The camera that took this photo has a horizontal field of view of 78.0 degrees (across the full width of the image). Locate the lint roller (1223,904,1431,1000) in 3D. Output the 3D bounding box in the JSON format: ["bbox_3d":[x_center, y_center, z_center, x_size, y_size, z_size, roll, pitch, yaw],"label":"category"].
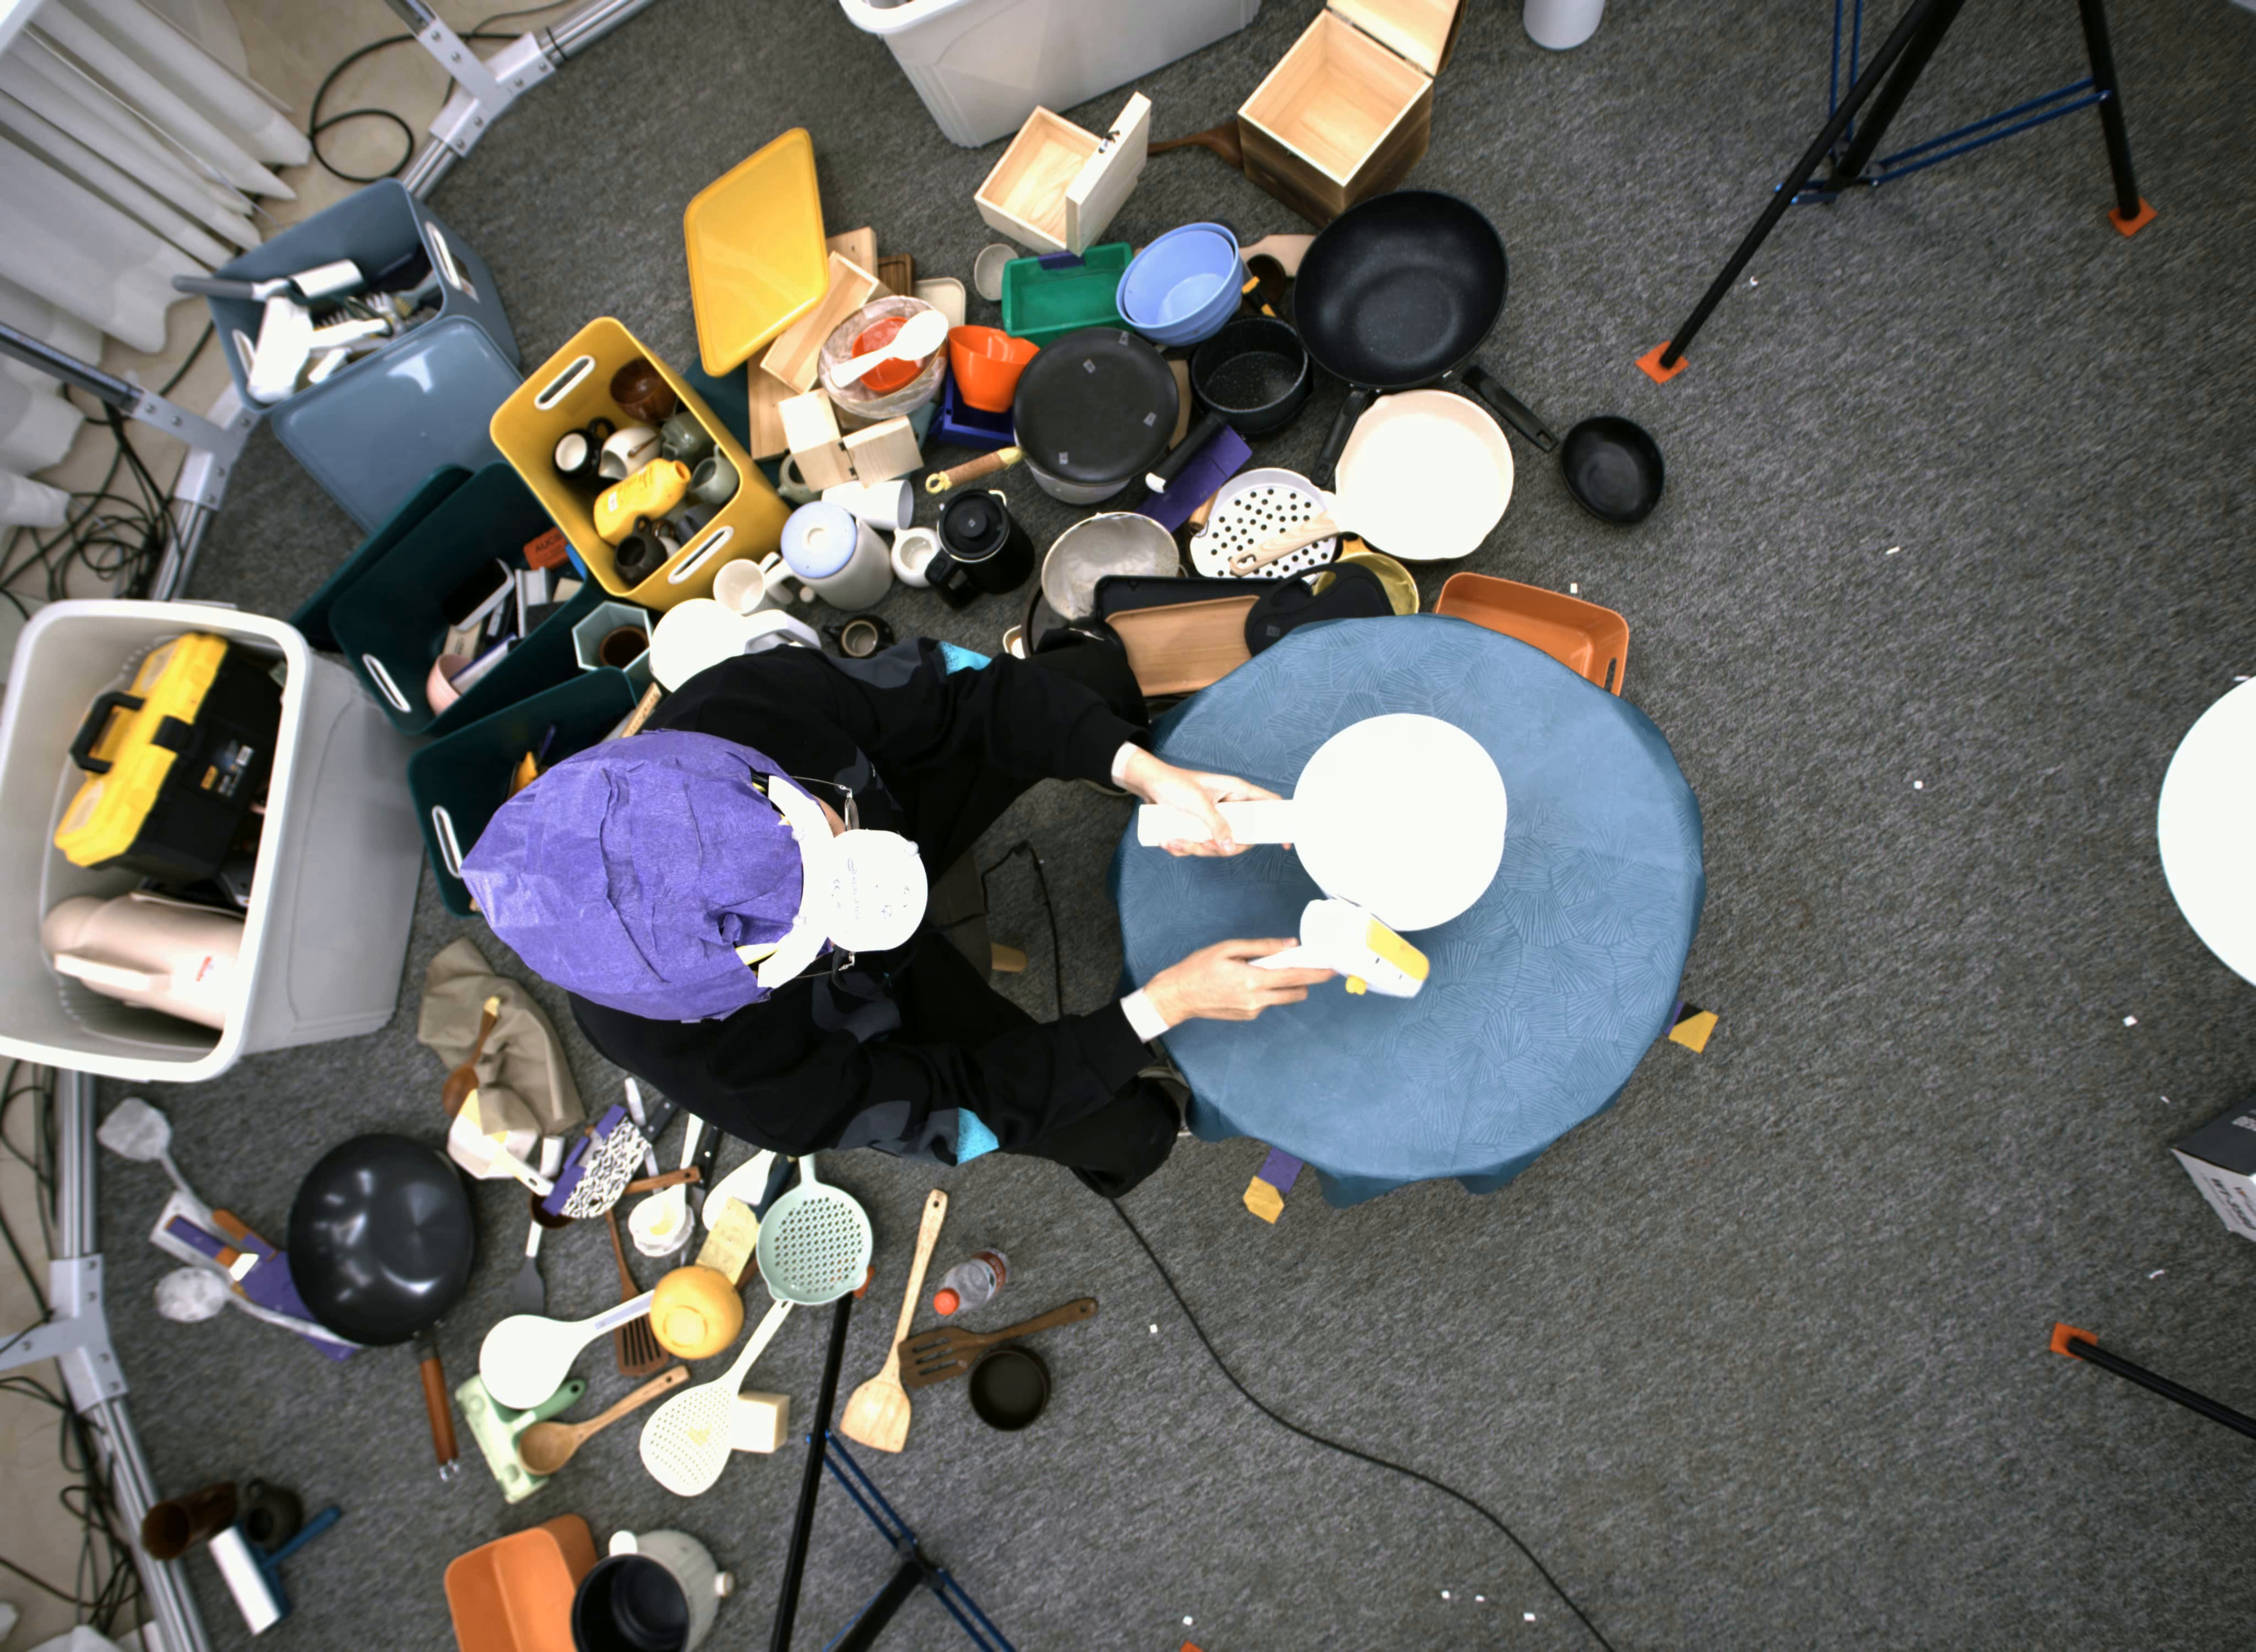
[{"bbox_3d":[0.179,0.132,1.354,0.194,0.193,0.073,-6,71,37],"label":"lint roller"}]

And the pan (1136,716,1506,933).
[{"bbox_3d":[0.190,0.005,1.356,0.357,0.103,0.198,-2,71,17],"label":"pan"}]
